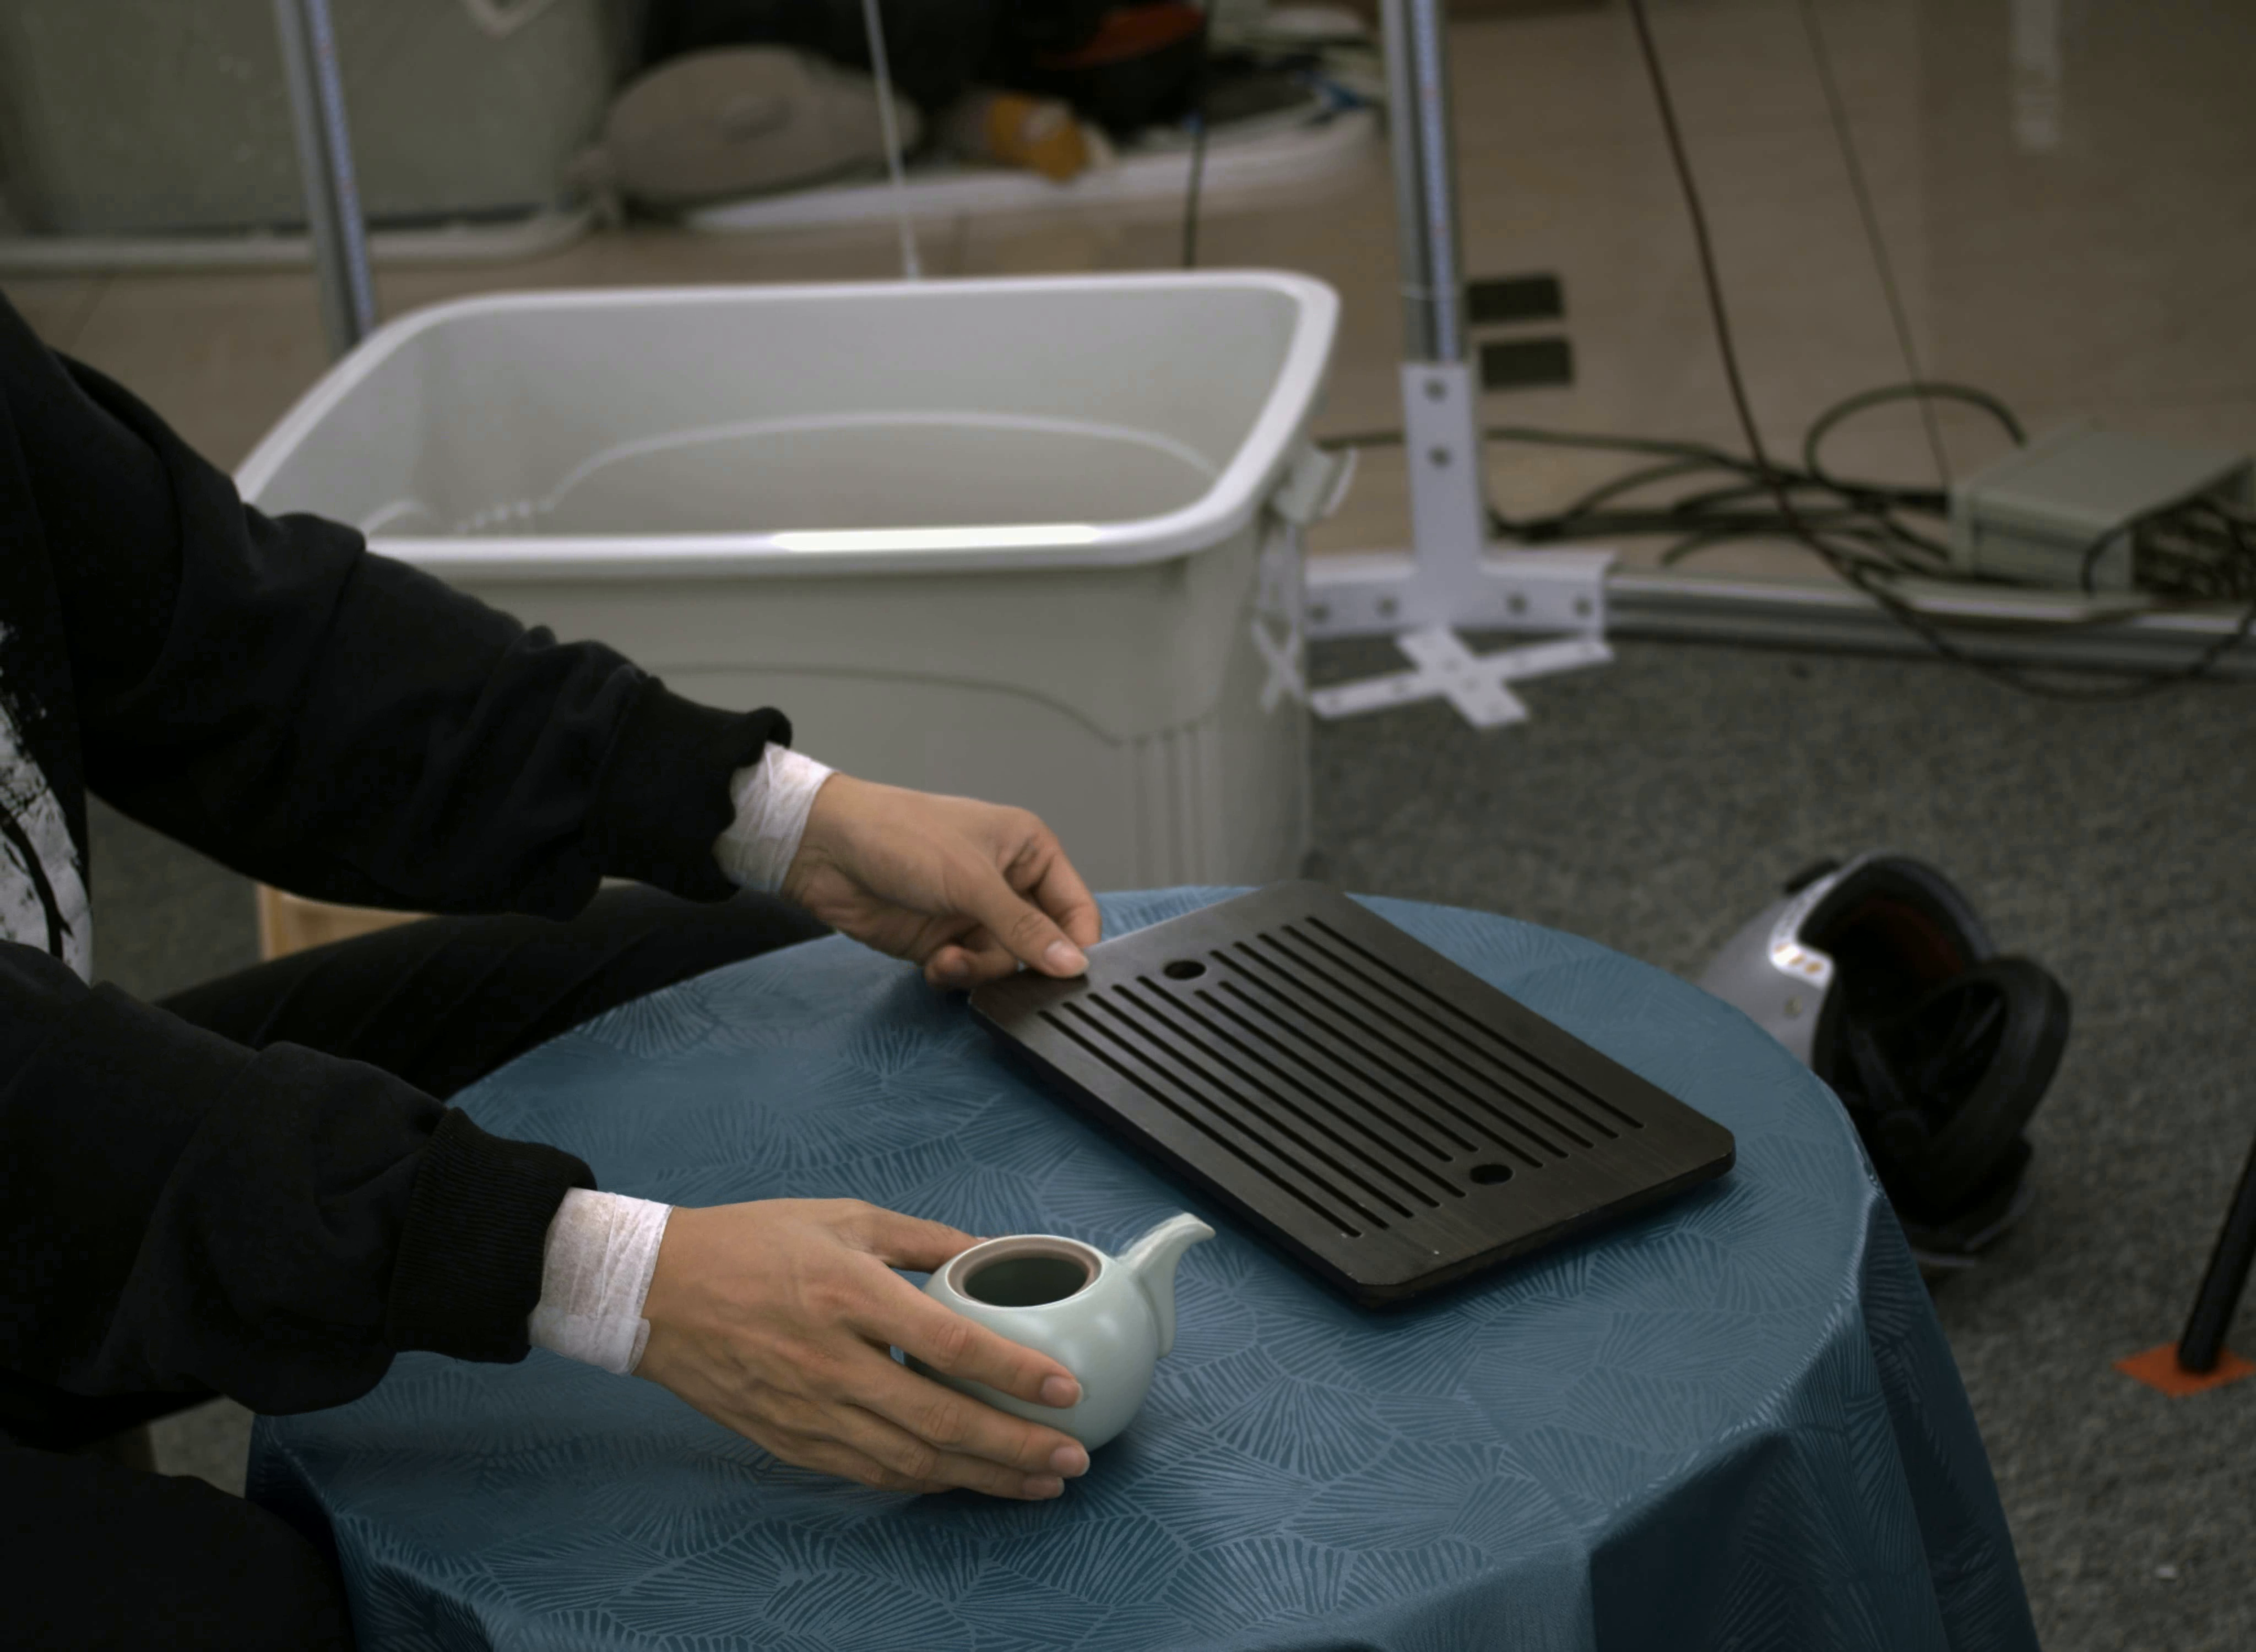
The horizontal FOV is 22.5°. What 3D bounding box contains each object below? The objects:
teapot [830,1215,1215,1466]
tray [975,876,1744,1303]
[{"bbox_3d":[-0.035,0.181,1.978,0.143,0.076,0.087,-10,23,-19],"label":"teapot"},{"bbox_3d":[0.084,0.098,2.188,0.169,0.019,0.302,-19,29,-26],"label":"tray"}]
